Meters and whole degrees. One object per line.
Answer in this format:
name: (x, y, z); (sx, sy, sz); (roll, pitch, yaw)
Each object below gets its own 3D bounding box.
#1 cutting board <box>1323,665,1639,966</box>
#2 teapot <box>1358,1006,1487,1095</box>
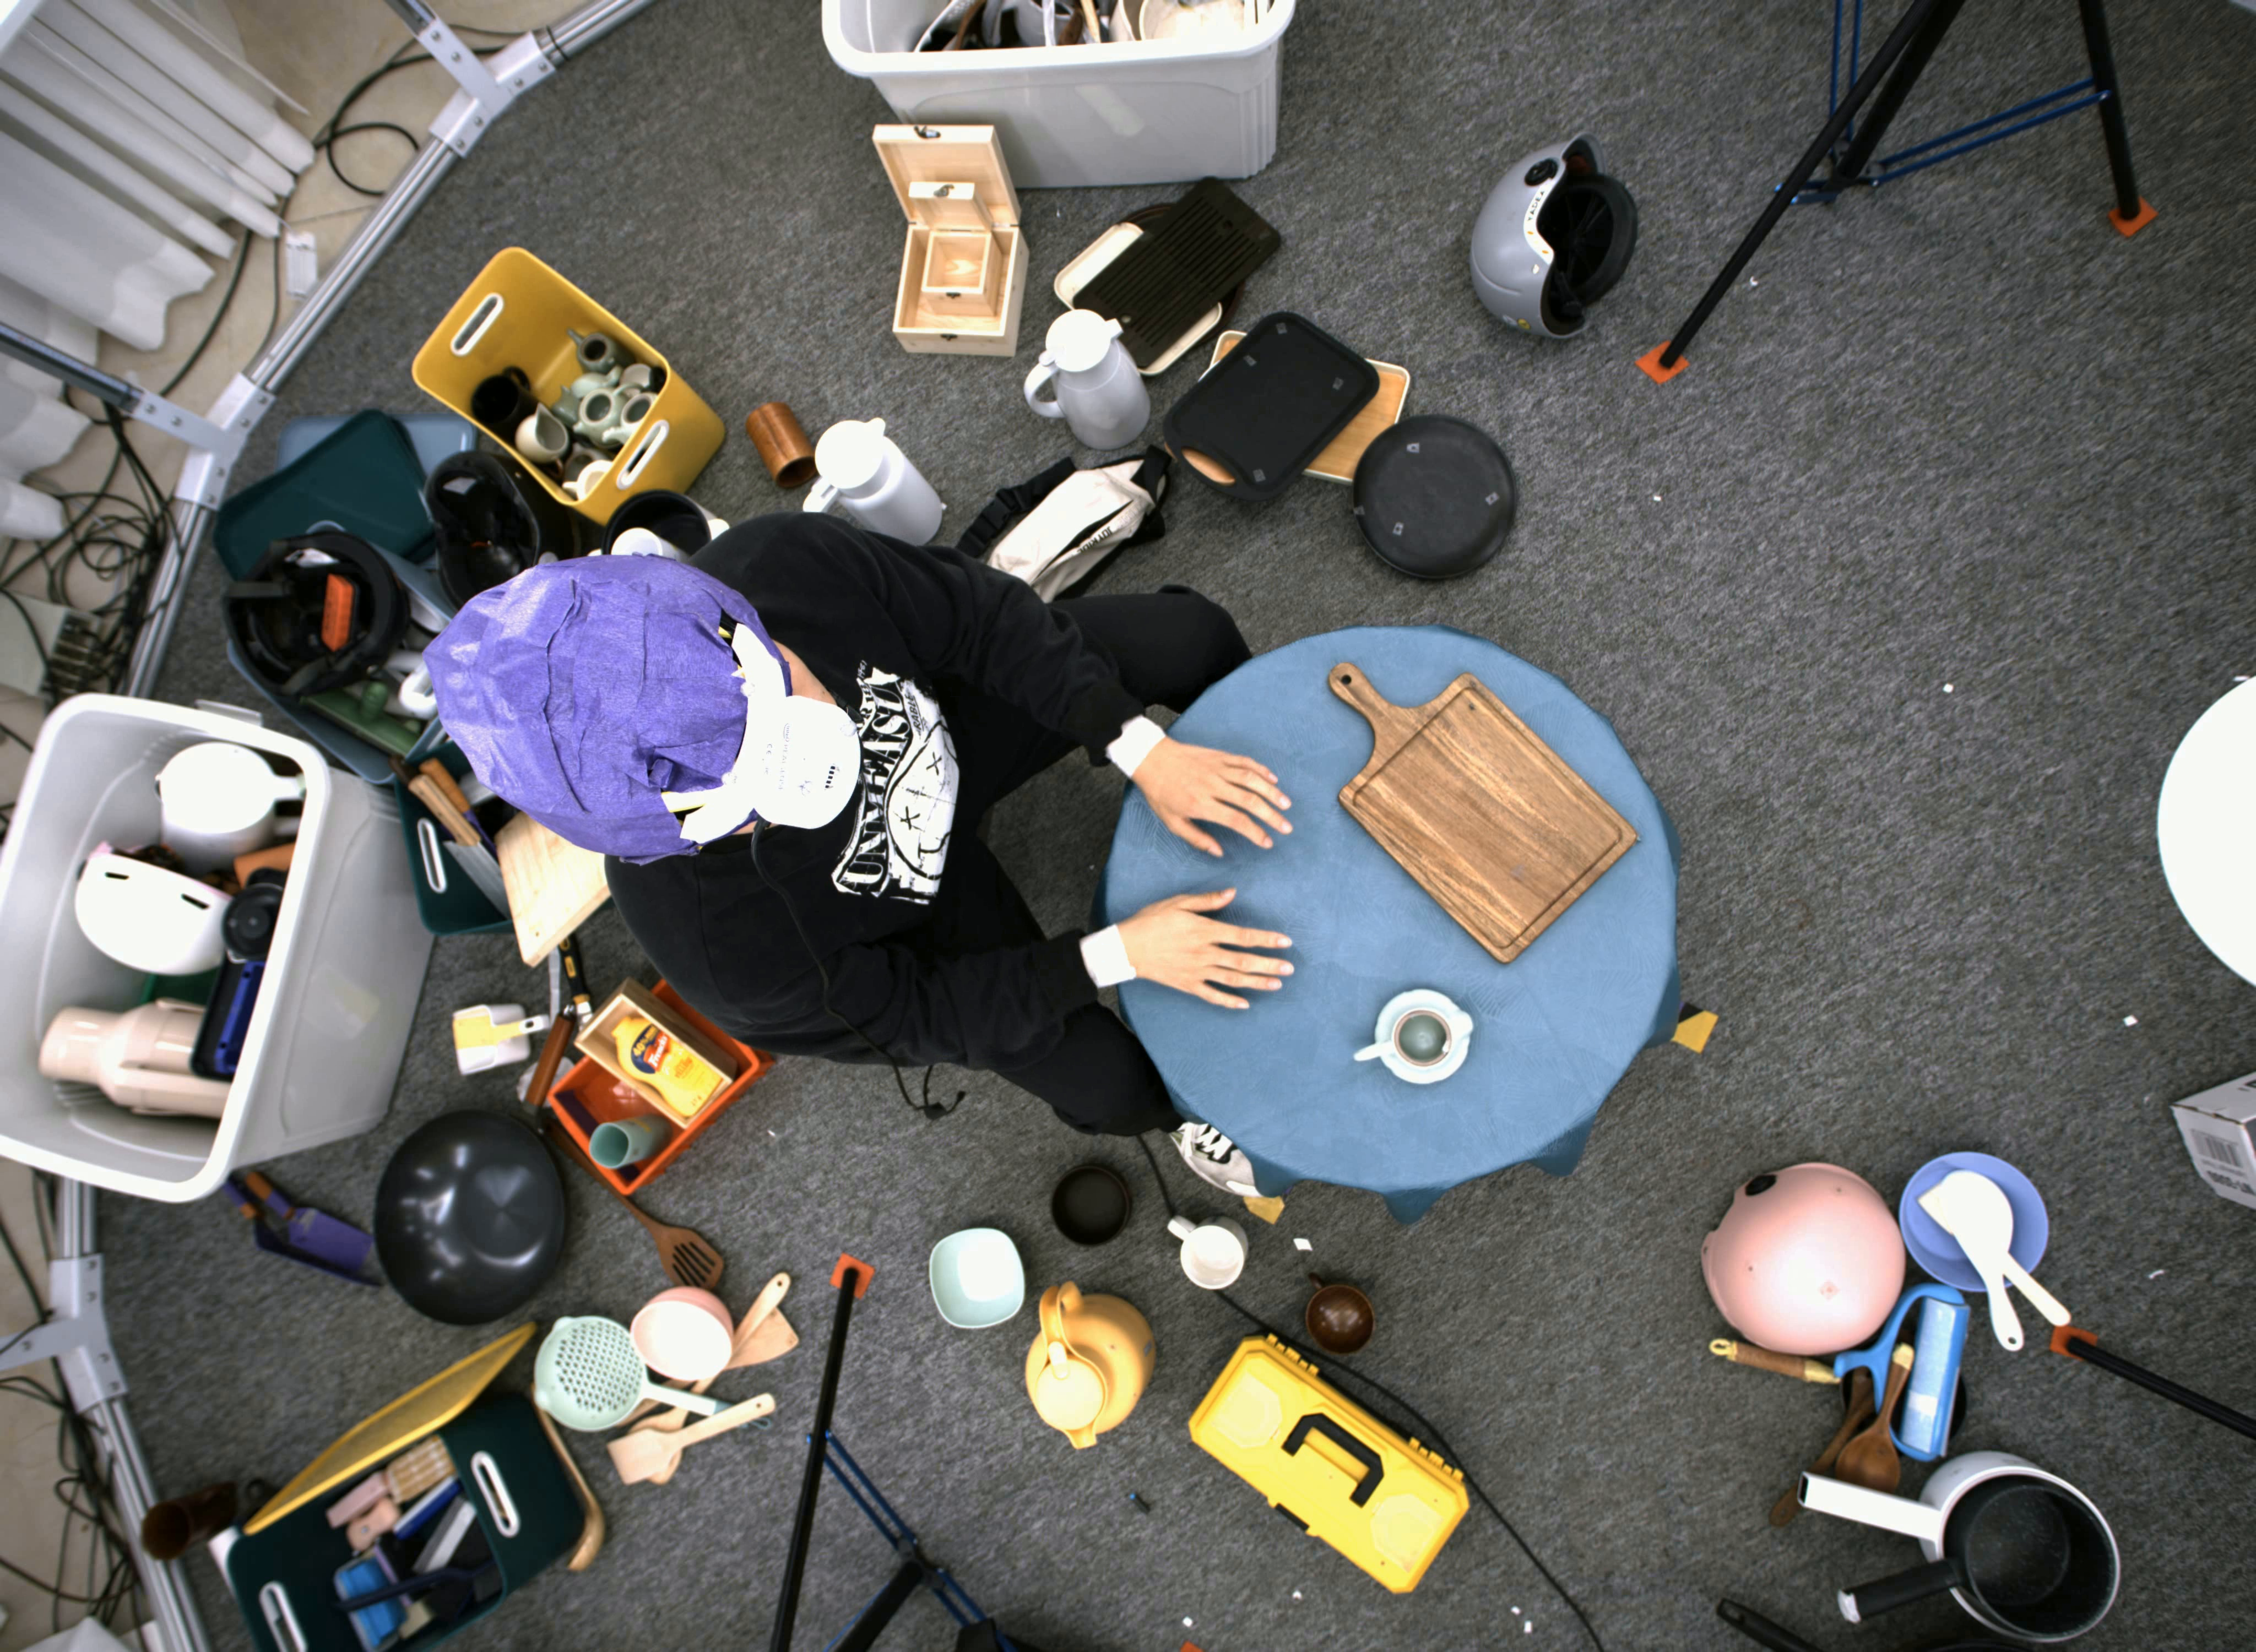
cutting board: (0.339, -0.045, 1.443); (0.202, 0.023, 0.350); (-46, 81, 5)
teapot: (0.297, 0.221, 1.402); (0.137, 0.063, 0.094); (-15, 57, -6)
